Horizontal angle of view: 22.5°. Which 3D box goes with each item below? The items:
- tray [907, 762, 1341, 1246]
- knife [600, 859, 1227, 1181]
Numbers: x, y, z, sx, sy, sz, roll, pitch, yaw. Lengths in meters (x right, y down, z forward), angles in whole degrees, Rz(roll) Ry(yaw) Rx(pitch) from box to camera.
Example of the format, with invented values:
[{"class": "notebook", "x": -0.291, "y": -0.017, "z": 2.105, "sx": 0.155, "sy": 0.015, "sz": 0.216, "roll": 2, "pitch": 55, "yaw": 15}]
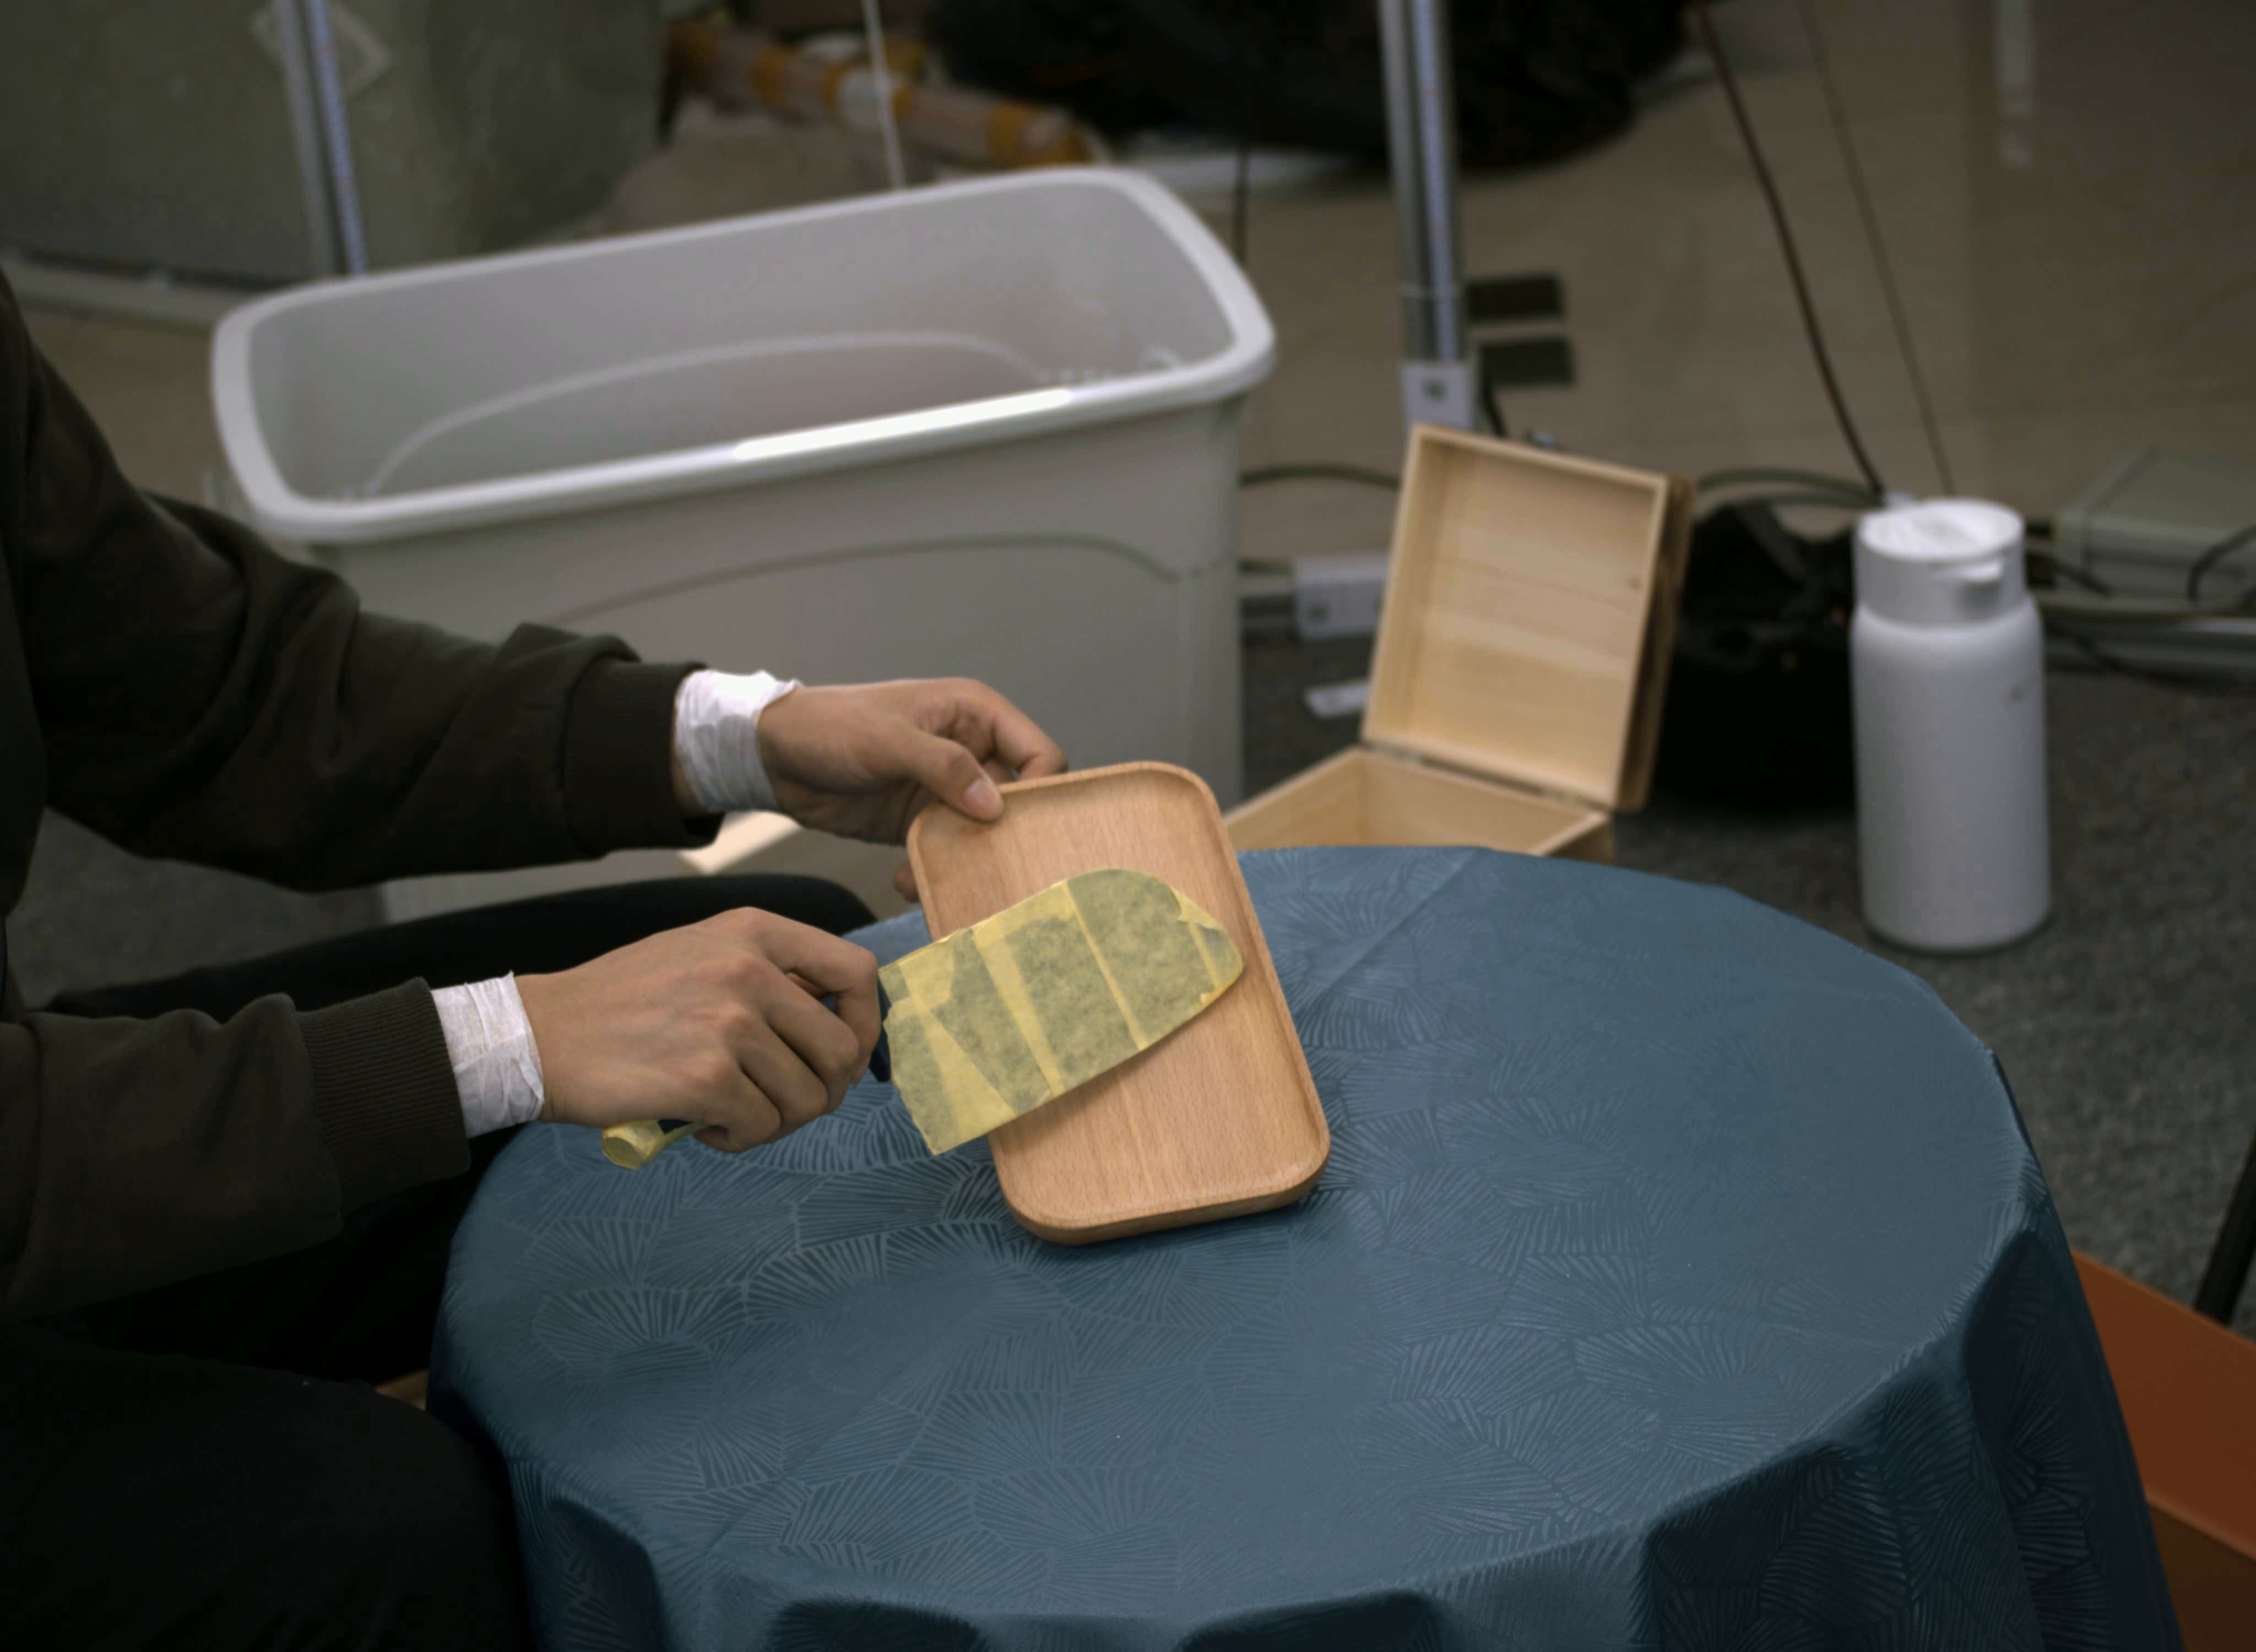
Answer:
[{"class": "tray", "x": -0.004, "y": 0.067, "z": 2.202, "sx": 0.130, "sy": 0.023, "sz": 0.246, "roll": -12, "pitch": 45, "yaw": -5}, {"class": "knife", "x": -0.073, "y": 0.082, "z": 2.126, "sx": 0.287, "sy": 0.081, "sz": 0.027, "roll": -23, "pitch": -4, "yaw": -33}]
